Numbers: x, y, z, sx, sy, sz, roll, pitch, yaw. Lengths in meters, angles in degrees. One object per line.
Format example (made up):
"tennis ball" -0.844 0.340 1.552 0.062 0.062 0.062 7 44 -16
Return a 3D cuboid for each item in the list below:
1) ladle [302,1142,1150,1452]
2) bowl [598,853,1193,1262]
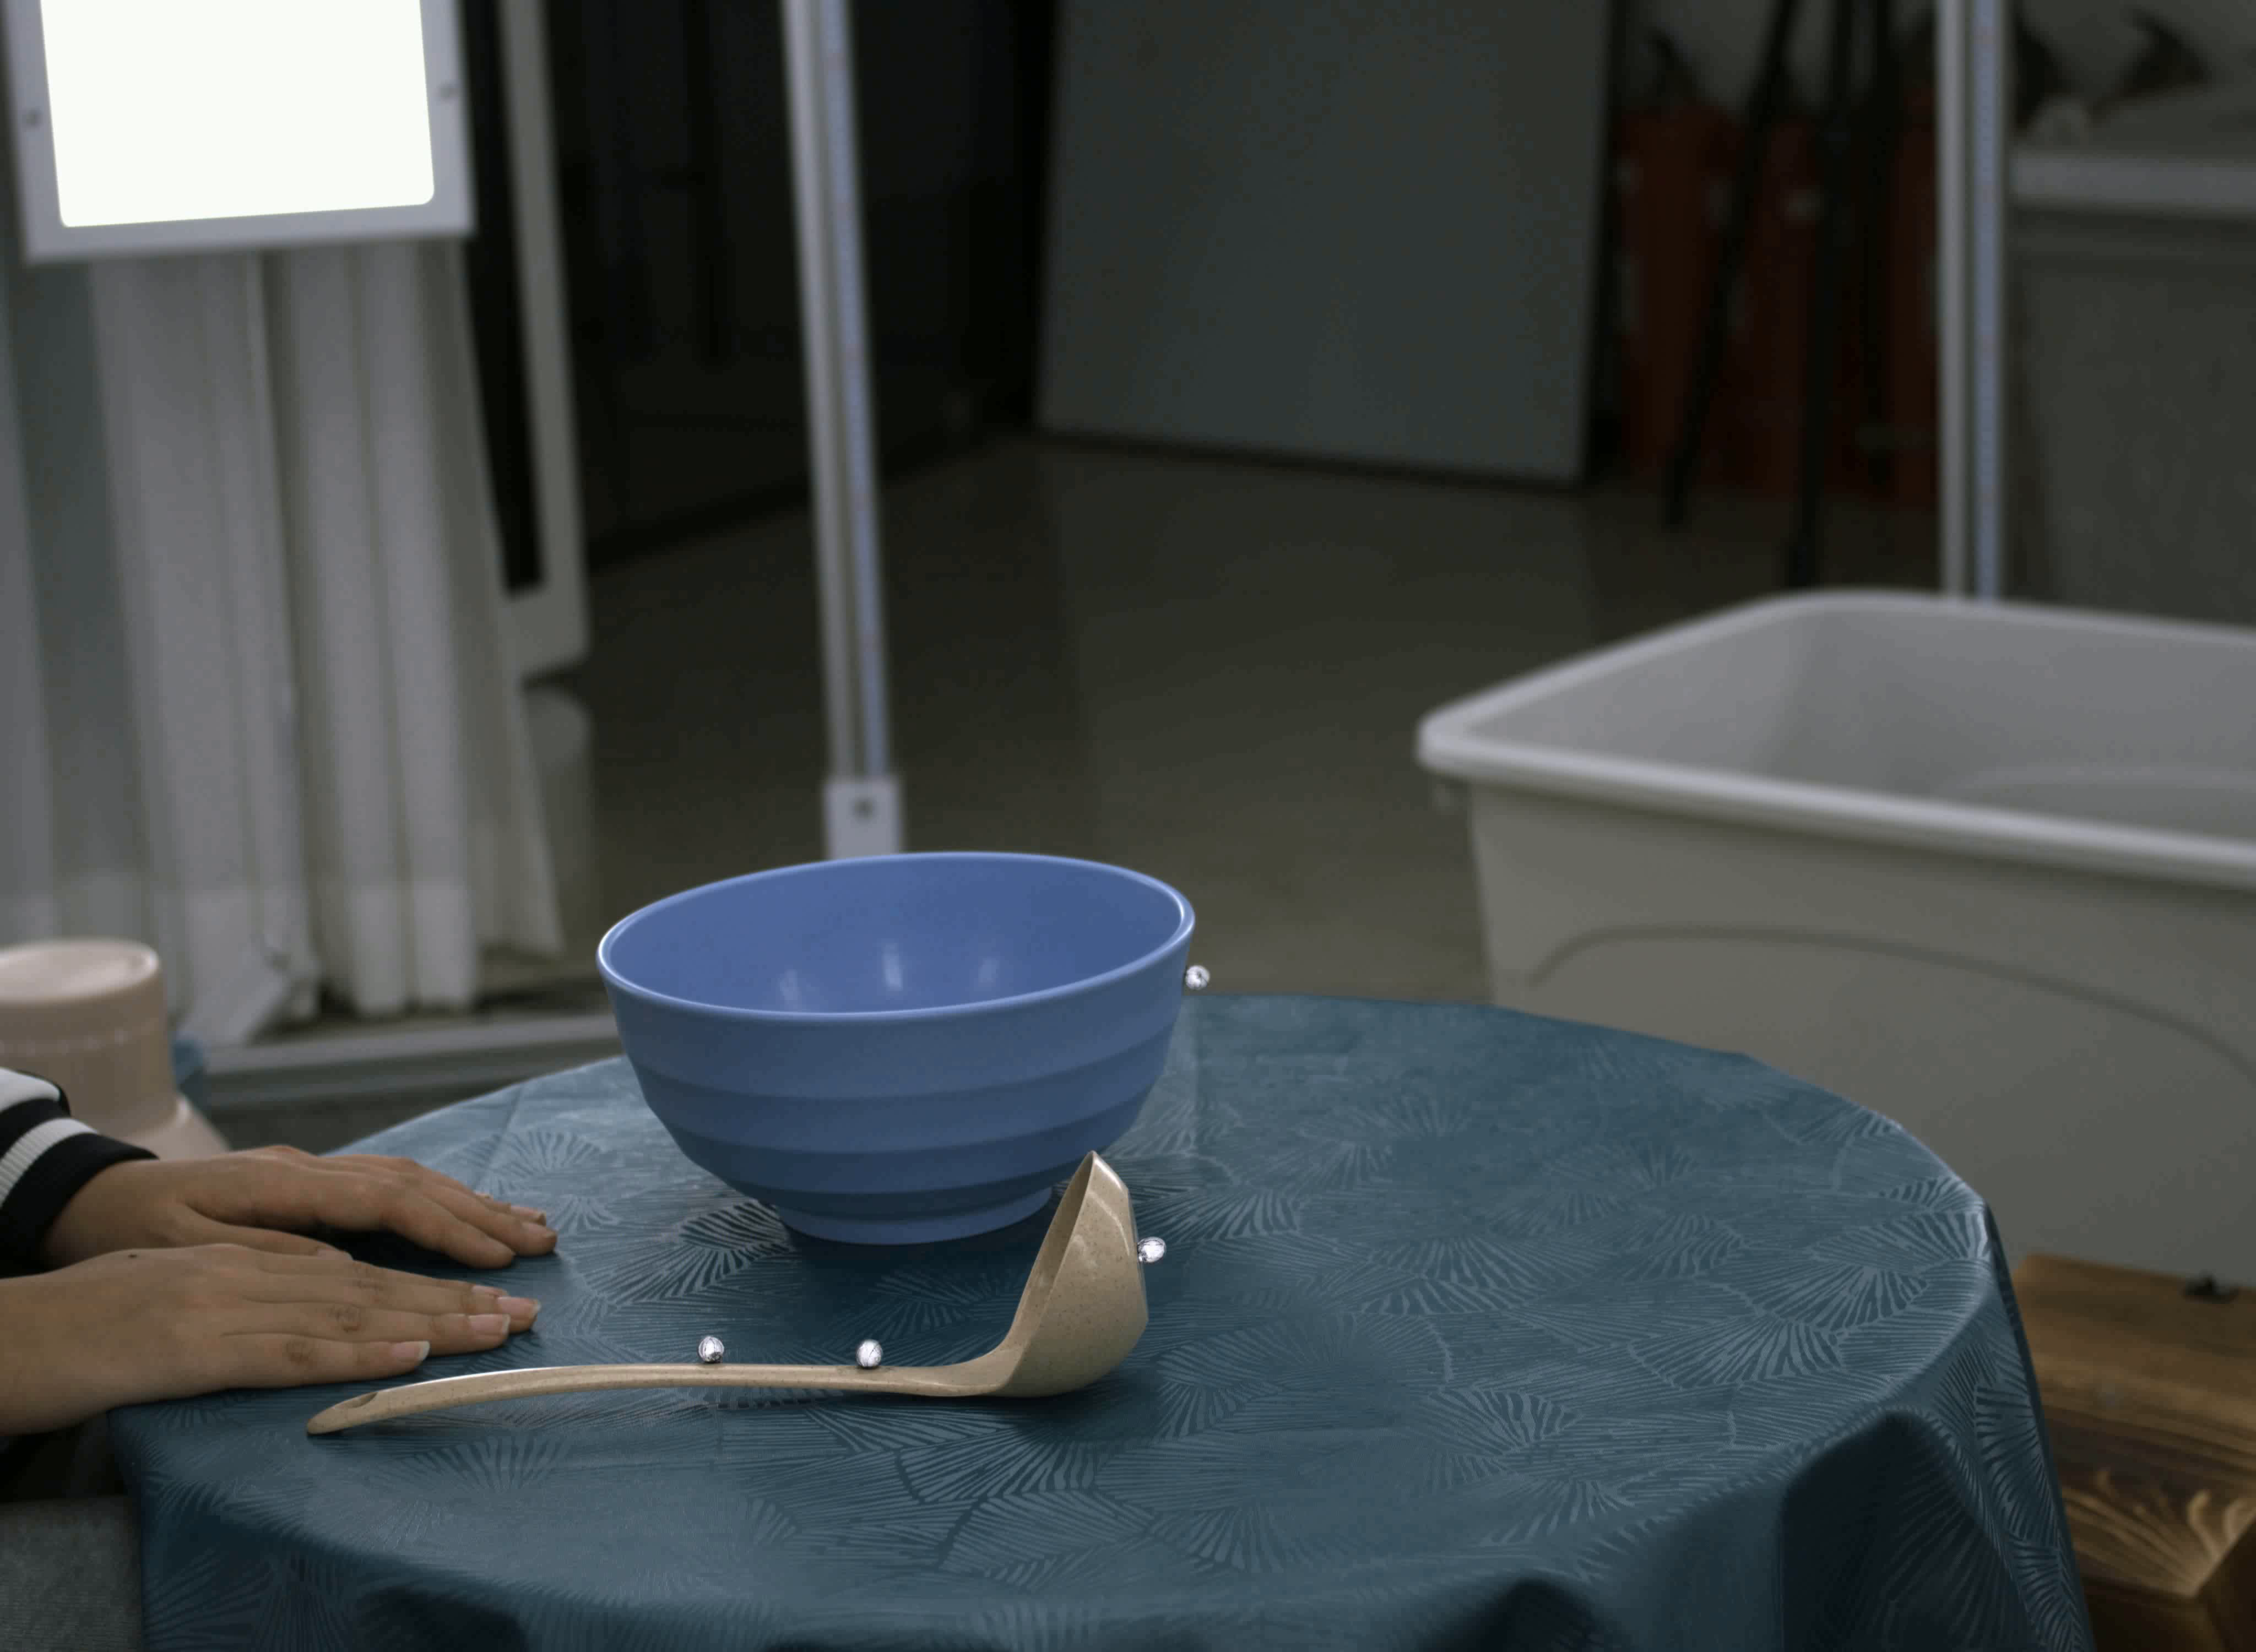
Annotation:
"ladle" -0.119 0.138 1.585 0.251 0.073 0.072 -4 12 0
"bowl" -0.072 0.082 1.765 0.194 0.096 0.197 -5 15 0
